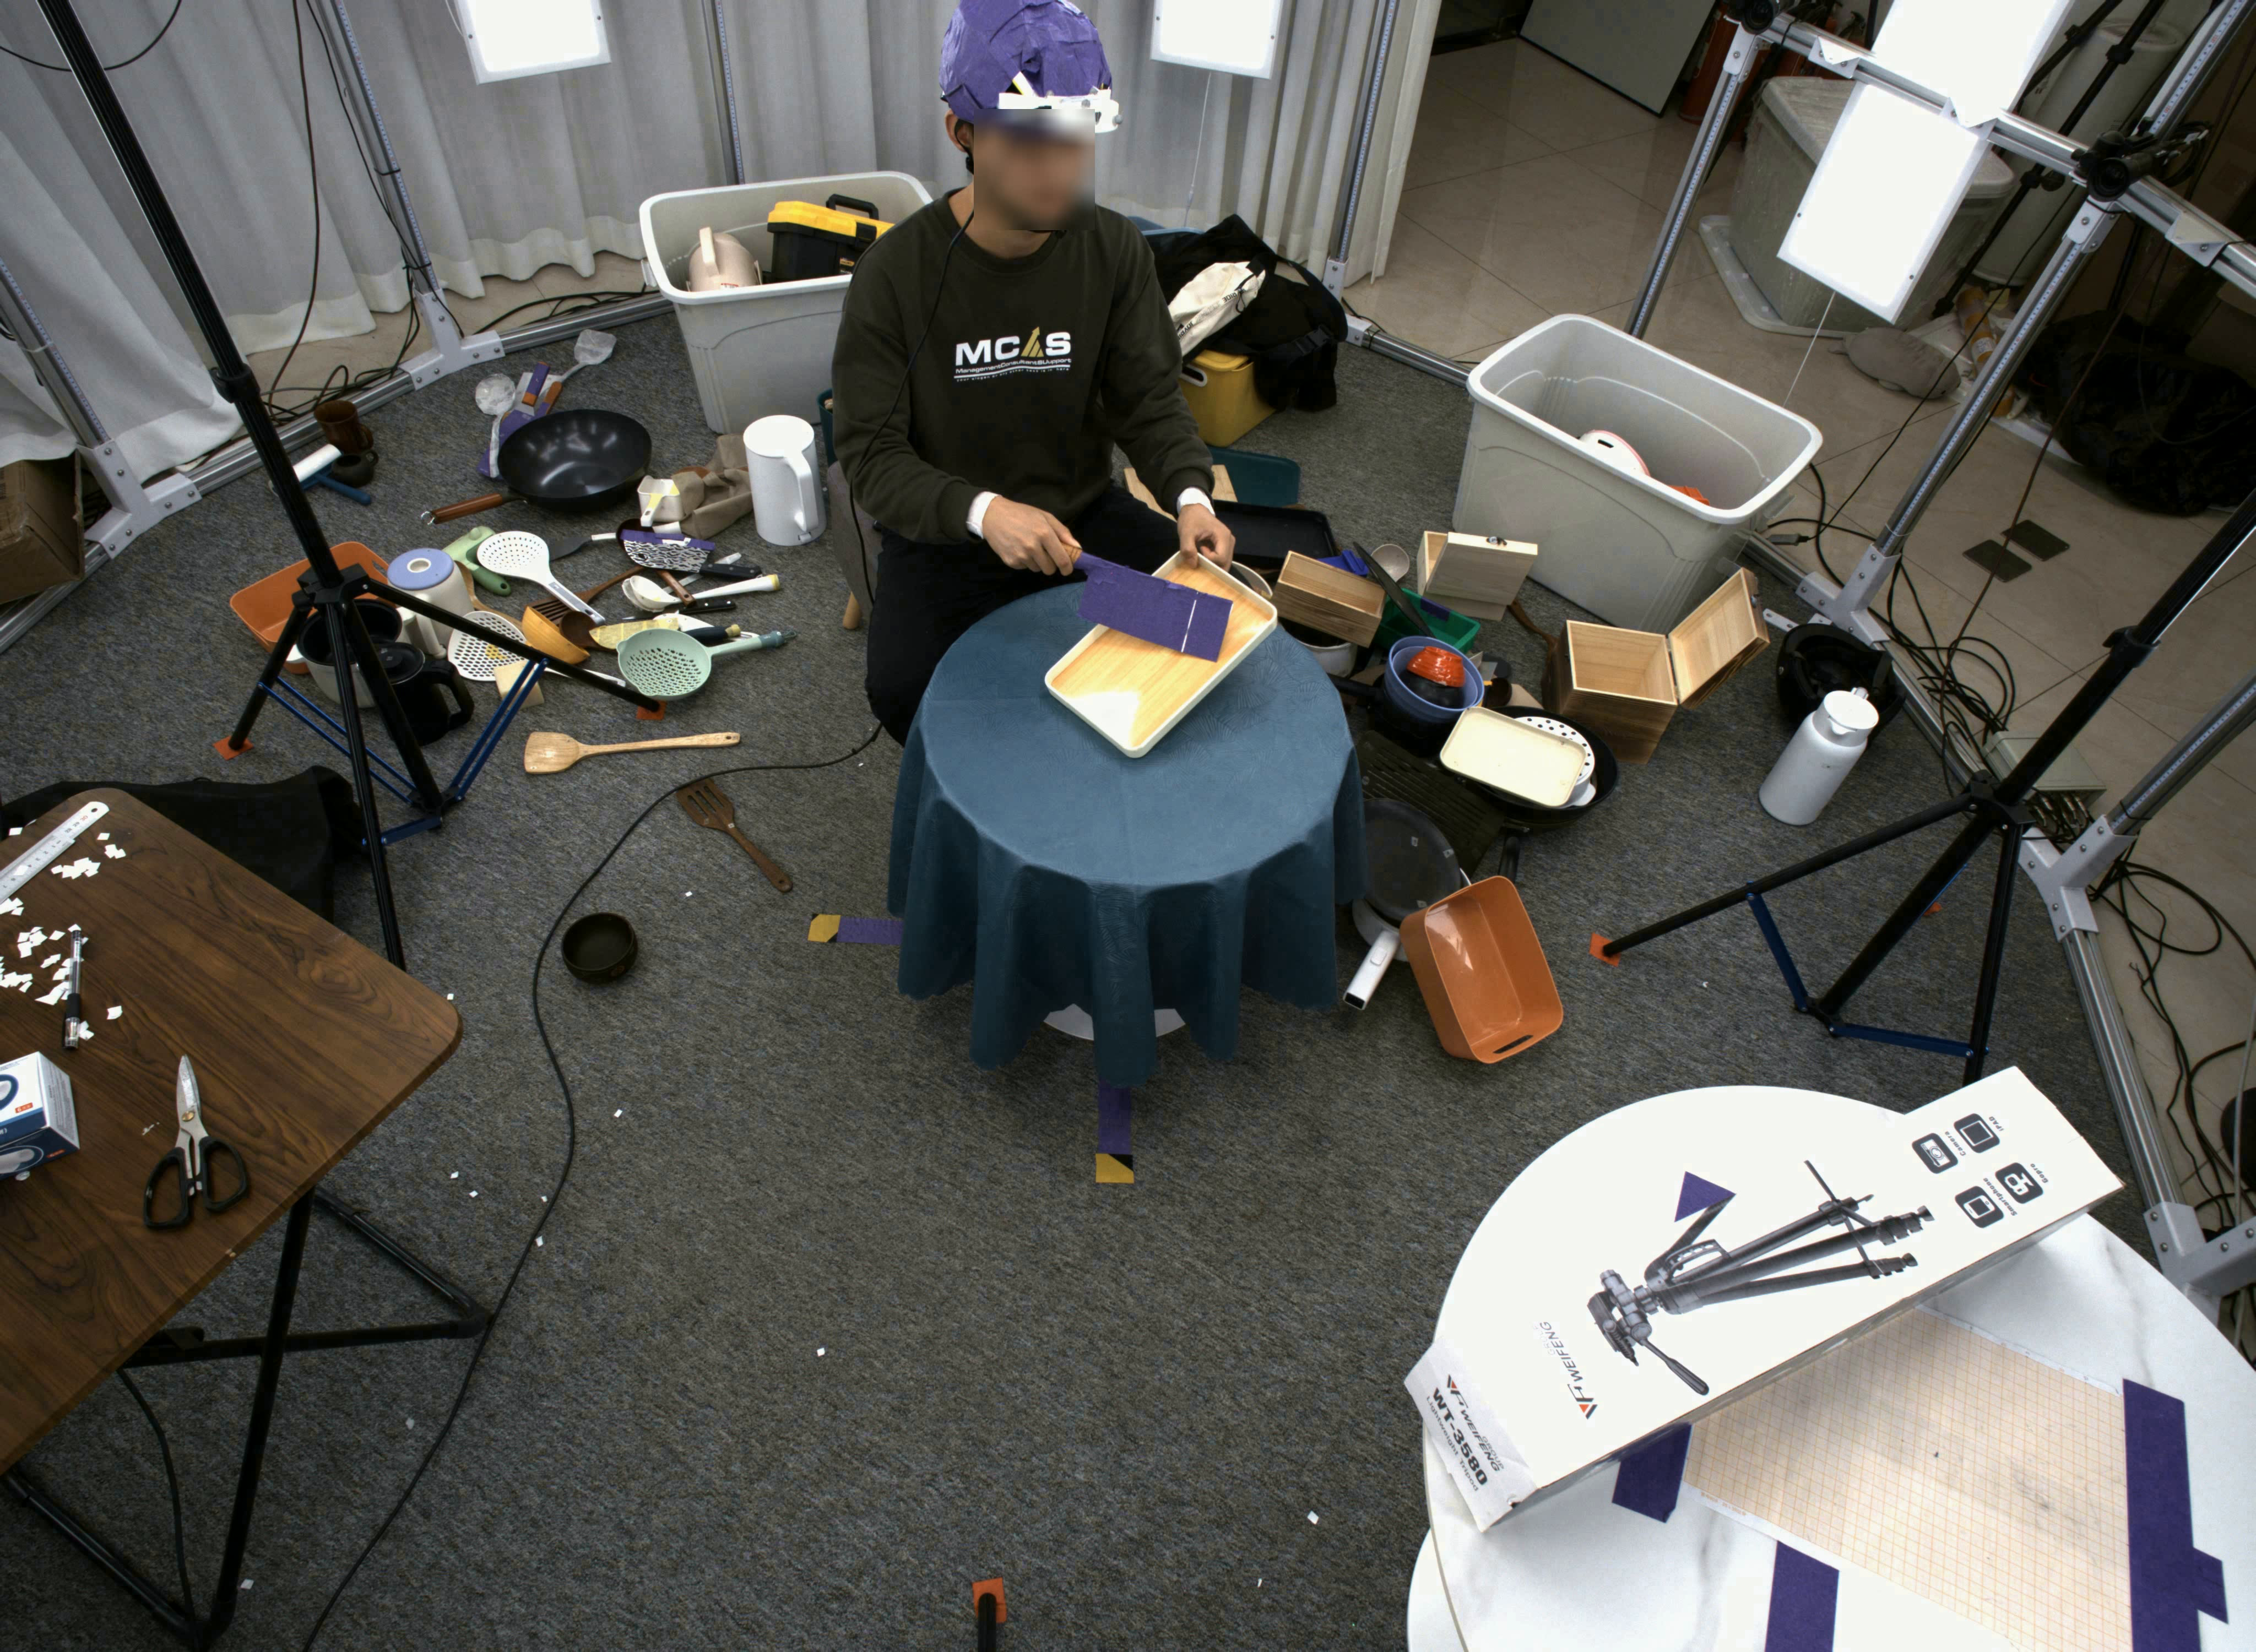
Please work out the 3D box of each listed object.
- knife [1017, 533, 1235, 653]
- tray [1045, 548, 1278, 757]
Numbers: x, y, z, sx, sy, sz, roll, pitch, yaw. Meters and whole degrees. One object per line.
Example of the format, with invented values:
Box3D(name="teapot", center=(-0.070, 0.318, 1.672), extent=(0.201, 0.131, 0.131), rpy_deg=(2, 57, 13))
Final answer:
Box3D(name="knife", center=(-0.012, -0.320, 1.789), extent=(0.316, 0.102, 0.032), rpy_deg=(19, 22, 8))
Box3D(name="tray", center=(0.048, -0.249, 1.810), extent=(0.302, 0.027, 0.194), rpy_deg=(-44, 63, -13))
